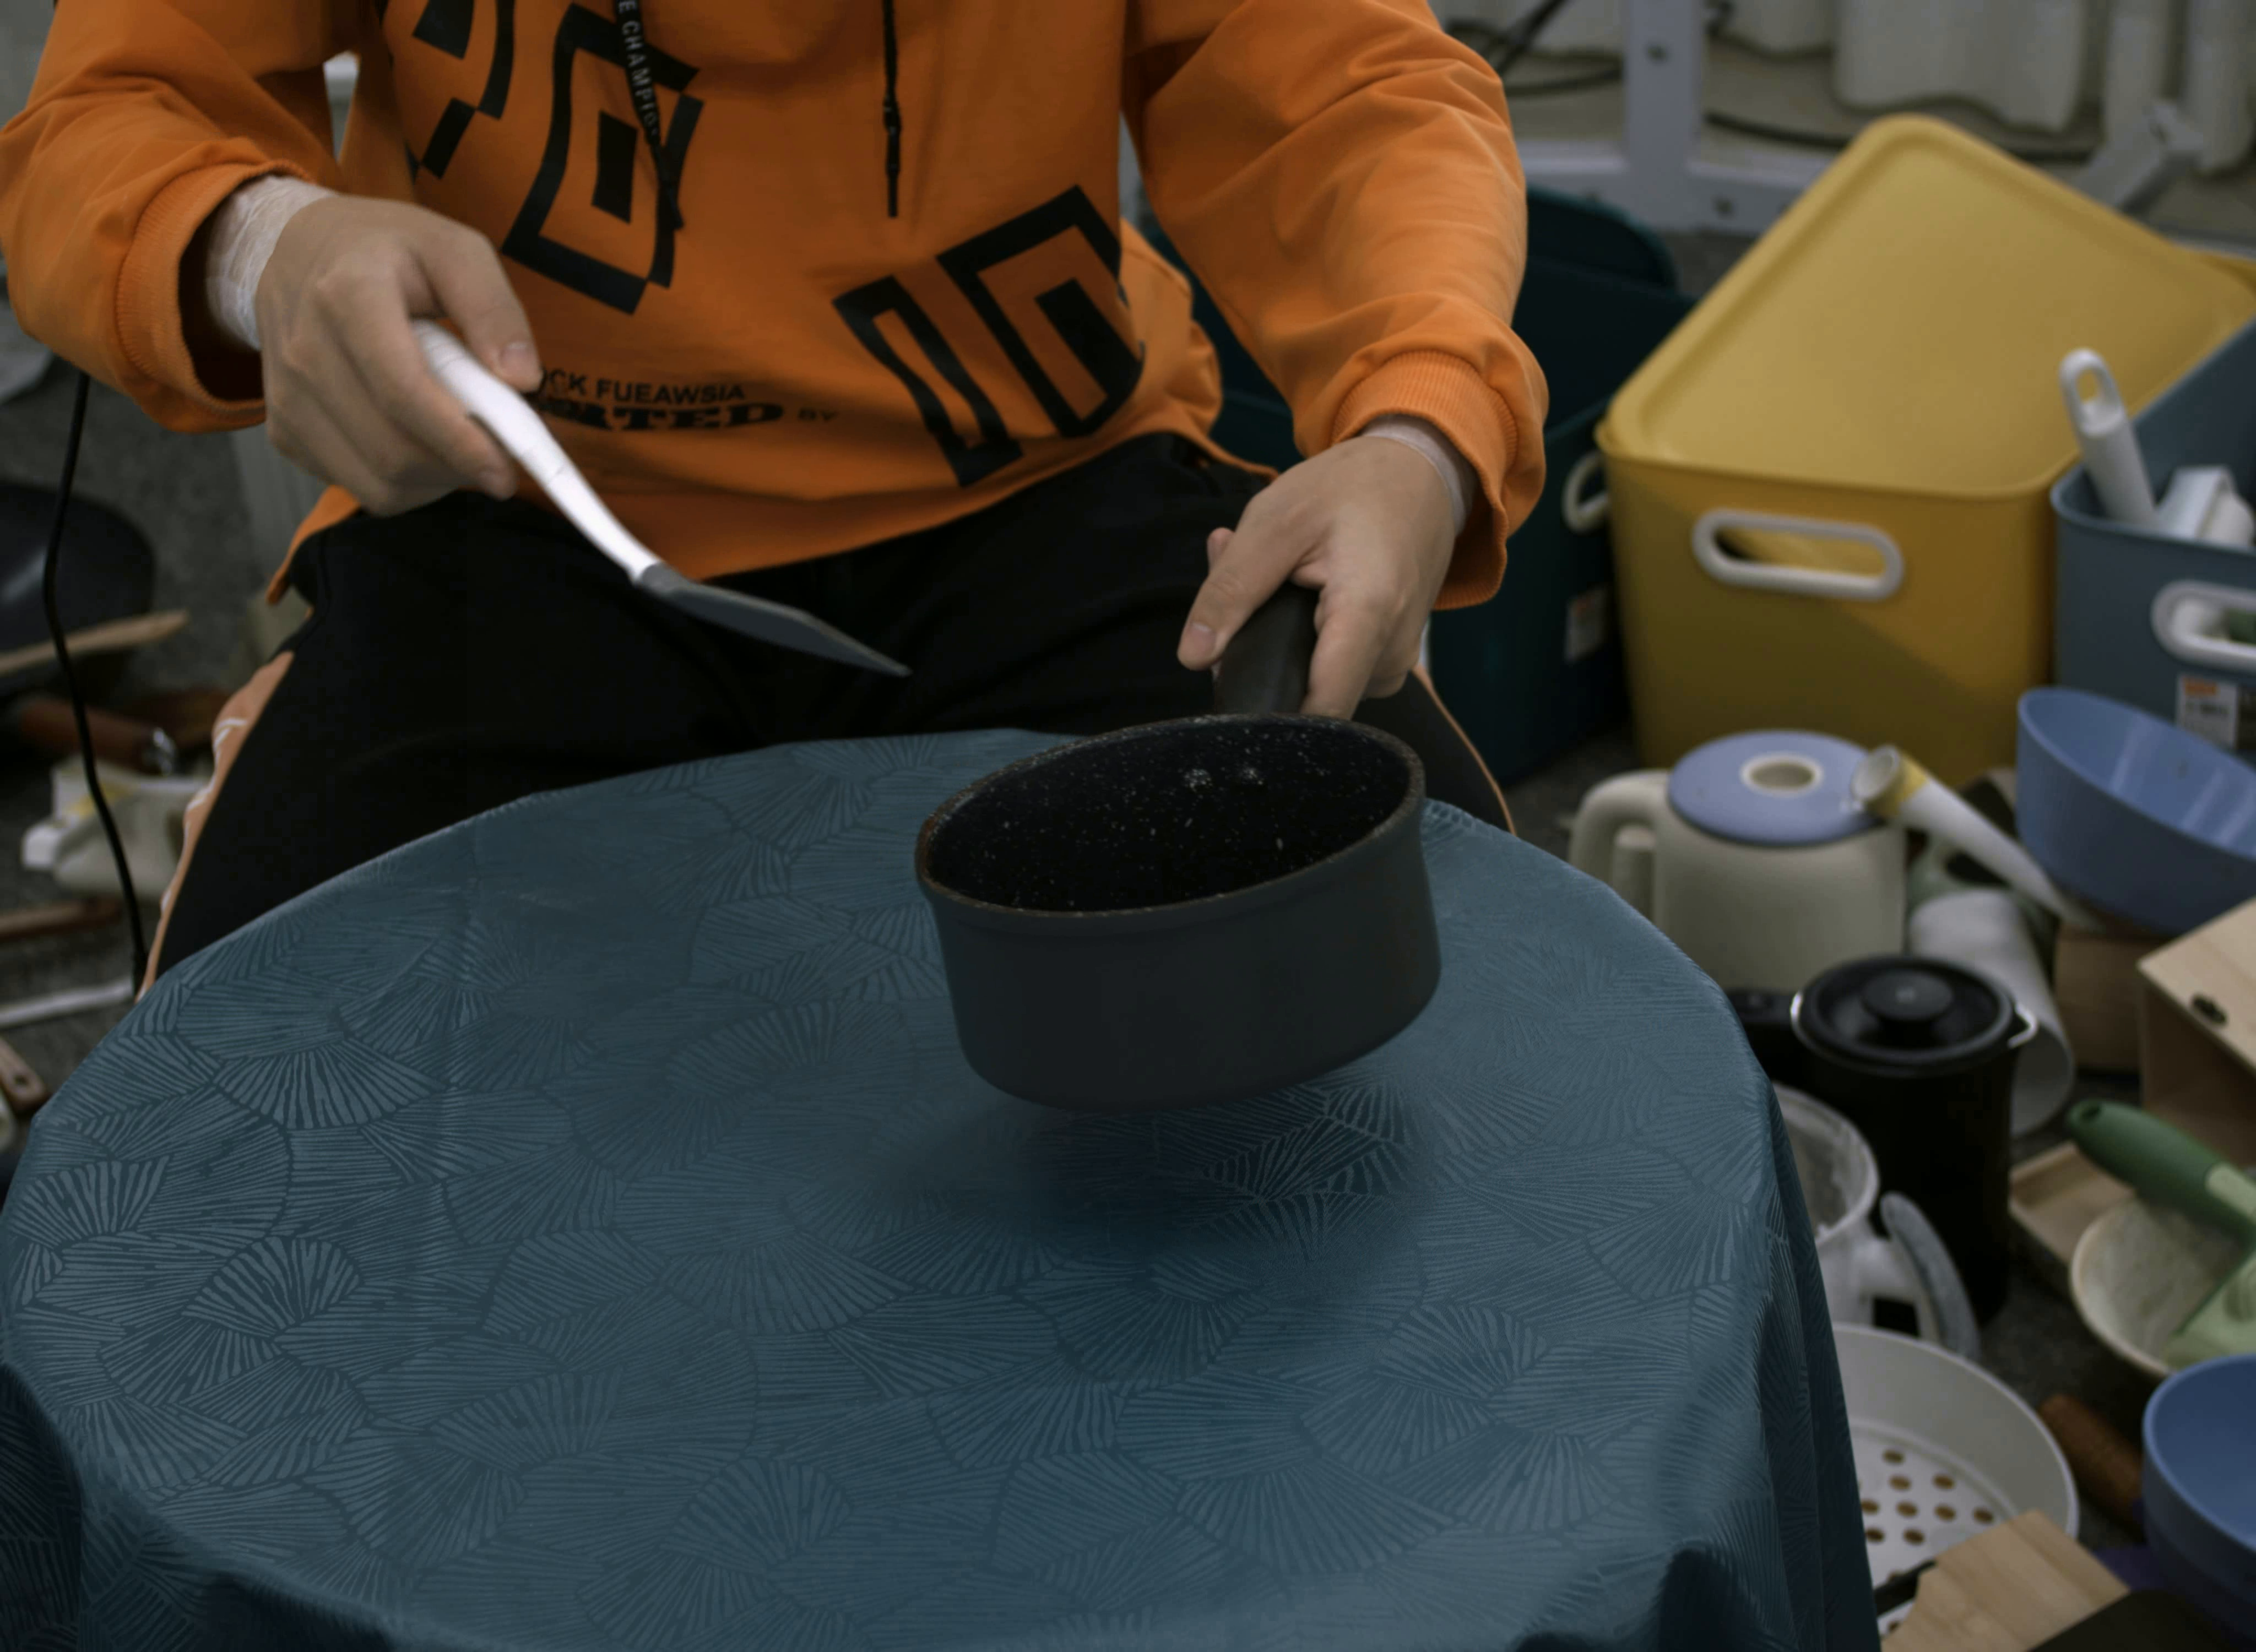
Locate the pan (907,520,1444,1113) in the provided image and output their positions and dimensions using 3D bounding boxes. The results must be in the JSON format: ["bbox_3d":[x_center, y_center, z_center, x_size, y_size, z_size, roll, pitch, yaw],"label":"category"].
[{"bbox_3d":[0.037,-0.006,1.927,0.170,0.086,0.334,-3,23,17],"label":"pan"}]

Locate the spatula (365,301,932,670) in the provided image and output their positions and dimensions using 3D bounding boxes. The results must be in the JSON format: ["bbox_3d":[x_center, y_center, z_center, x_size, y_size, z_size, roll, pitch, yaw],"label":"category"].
[{"bbox_3d":[-0.166,-0.107,1.862,0.288,0.032,0.058,35,1,43],"label":"spatula"}]
